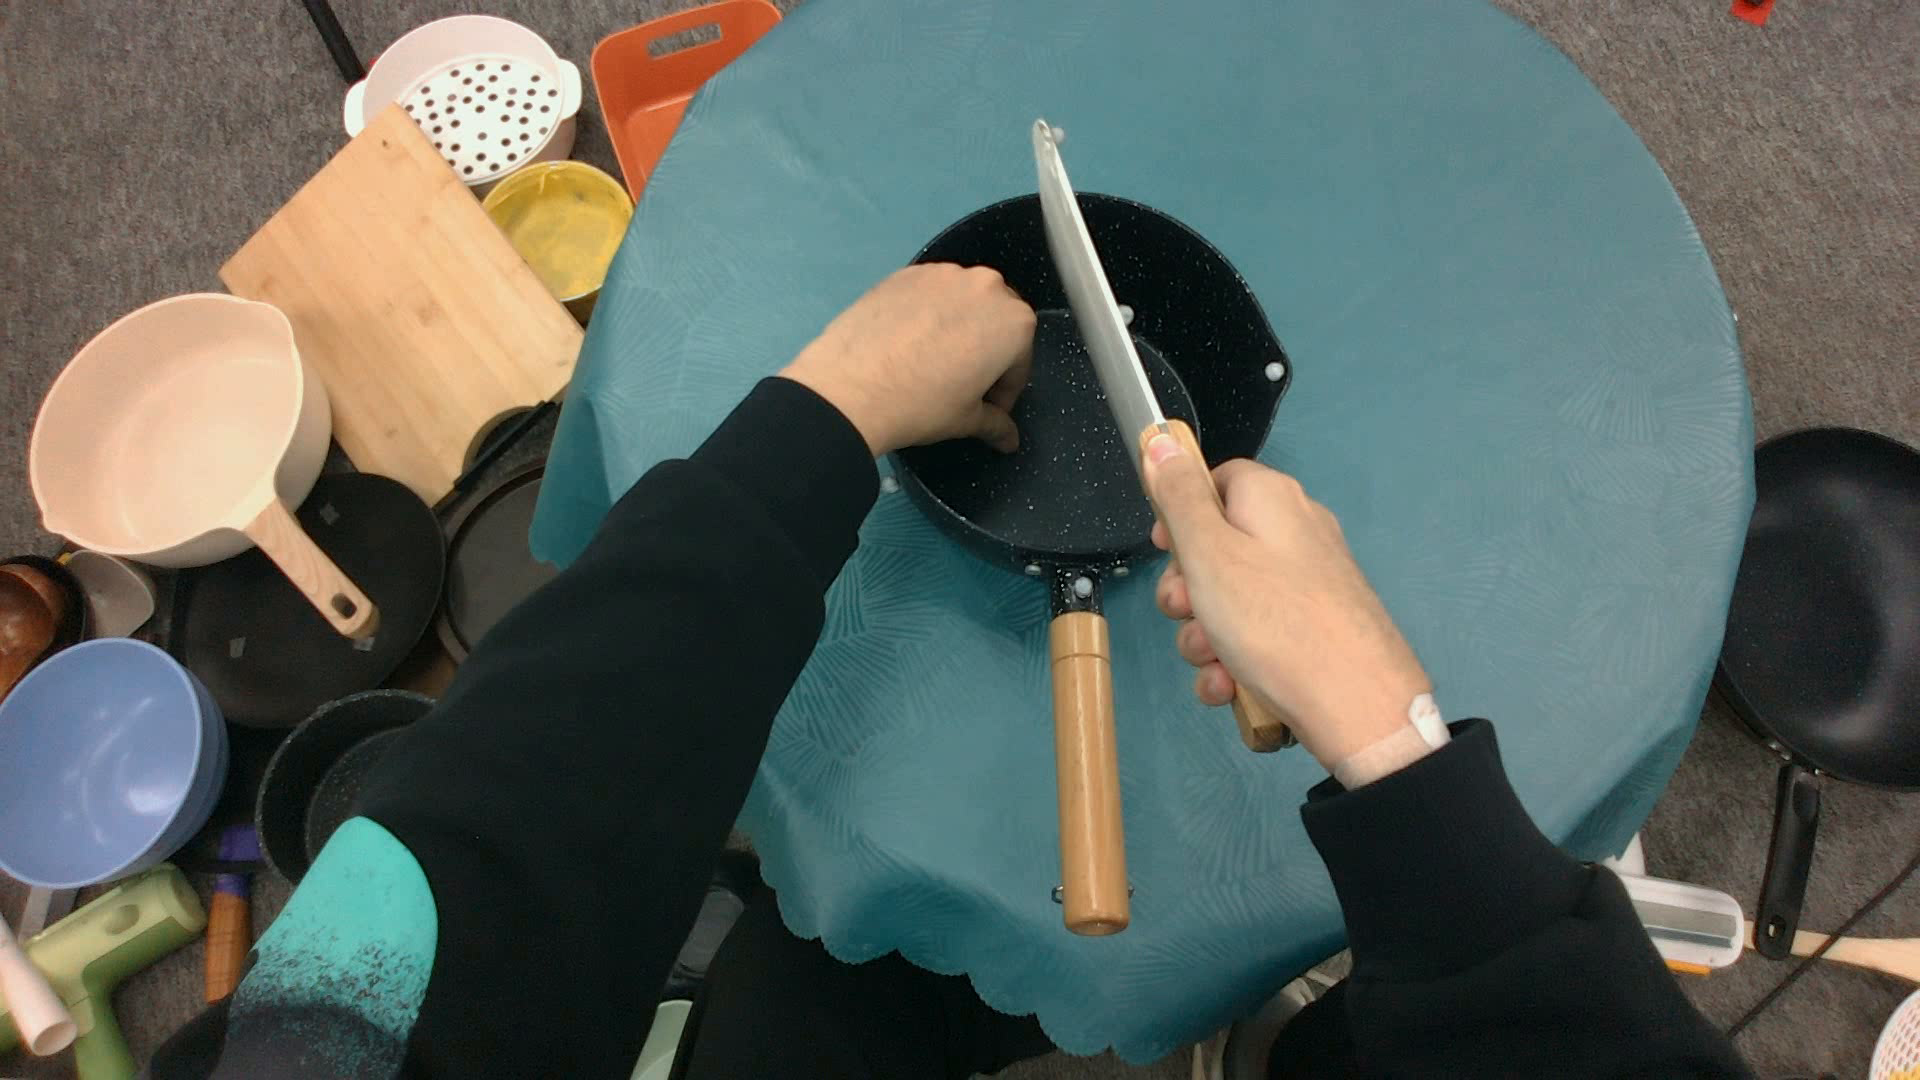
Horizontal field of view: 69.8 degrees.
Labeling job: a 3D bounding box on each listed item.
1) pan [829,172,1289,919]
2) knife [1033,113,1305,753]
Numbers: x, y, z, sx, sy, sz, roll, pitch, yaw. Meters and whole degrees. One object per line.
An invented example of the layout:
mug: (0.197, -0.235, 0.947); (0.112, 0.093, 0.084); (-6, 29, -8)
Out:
pan: (0.047, -0.002, 0.622); (0.207, 0.108, 0.344); (-1, 69, -3)
knife: (0.072, -0.053, 0.562); (0.022, 0.113, 0.316); (-16, 53, 0)
